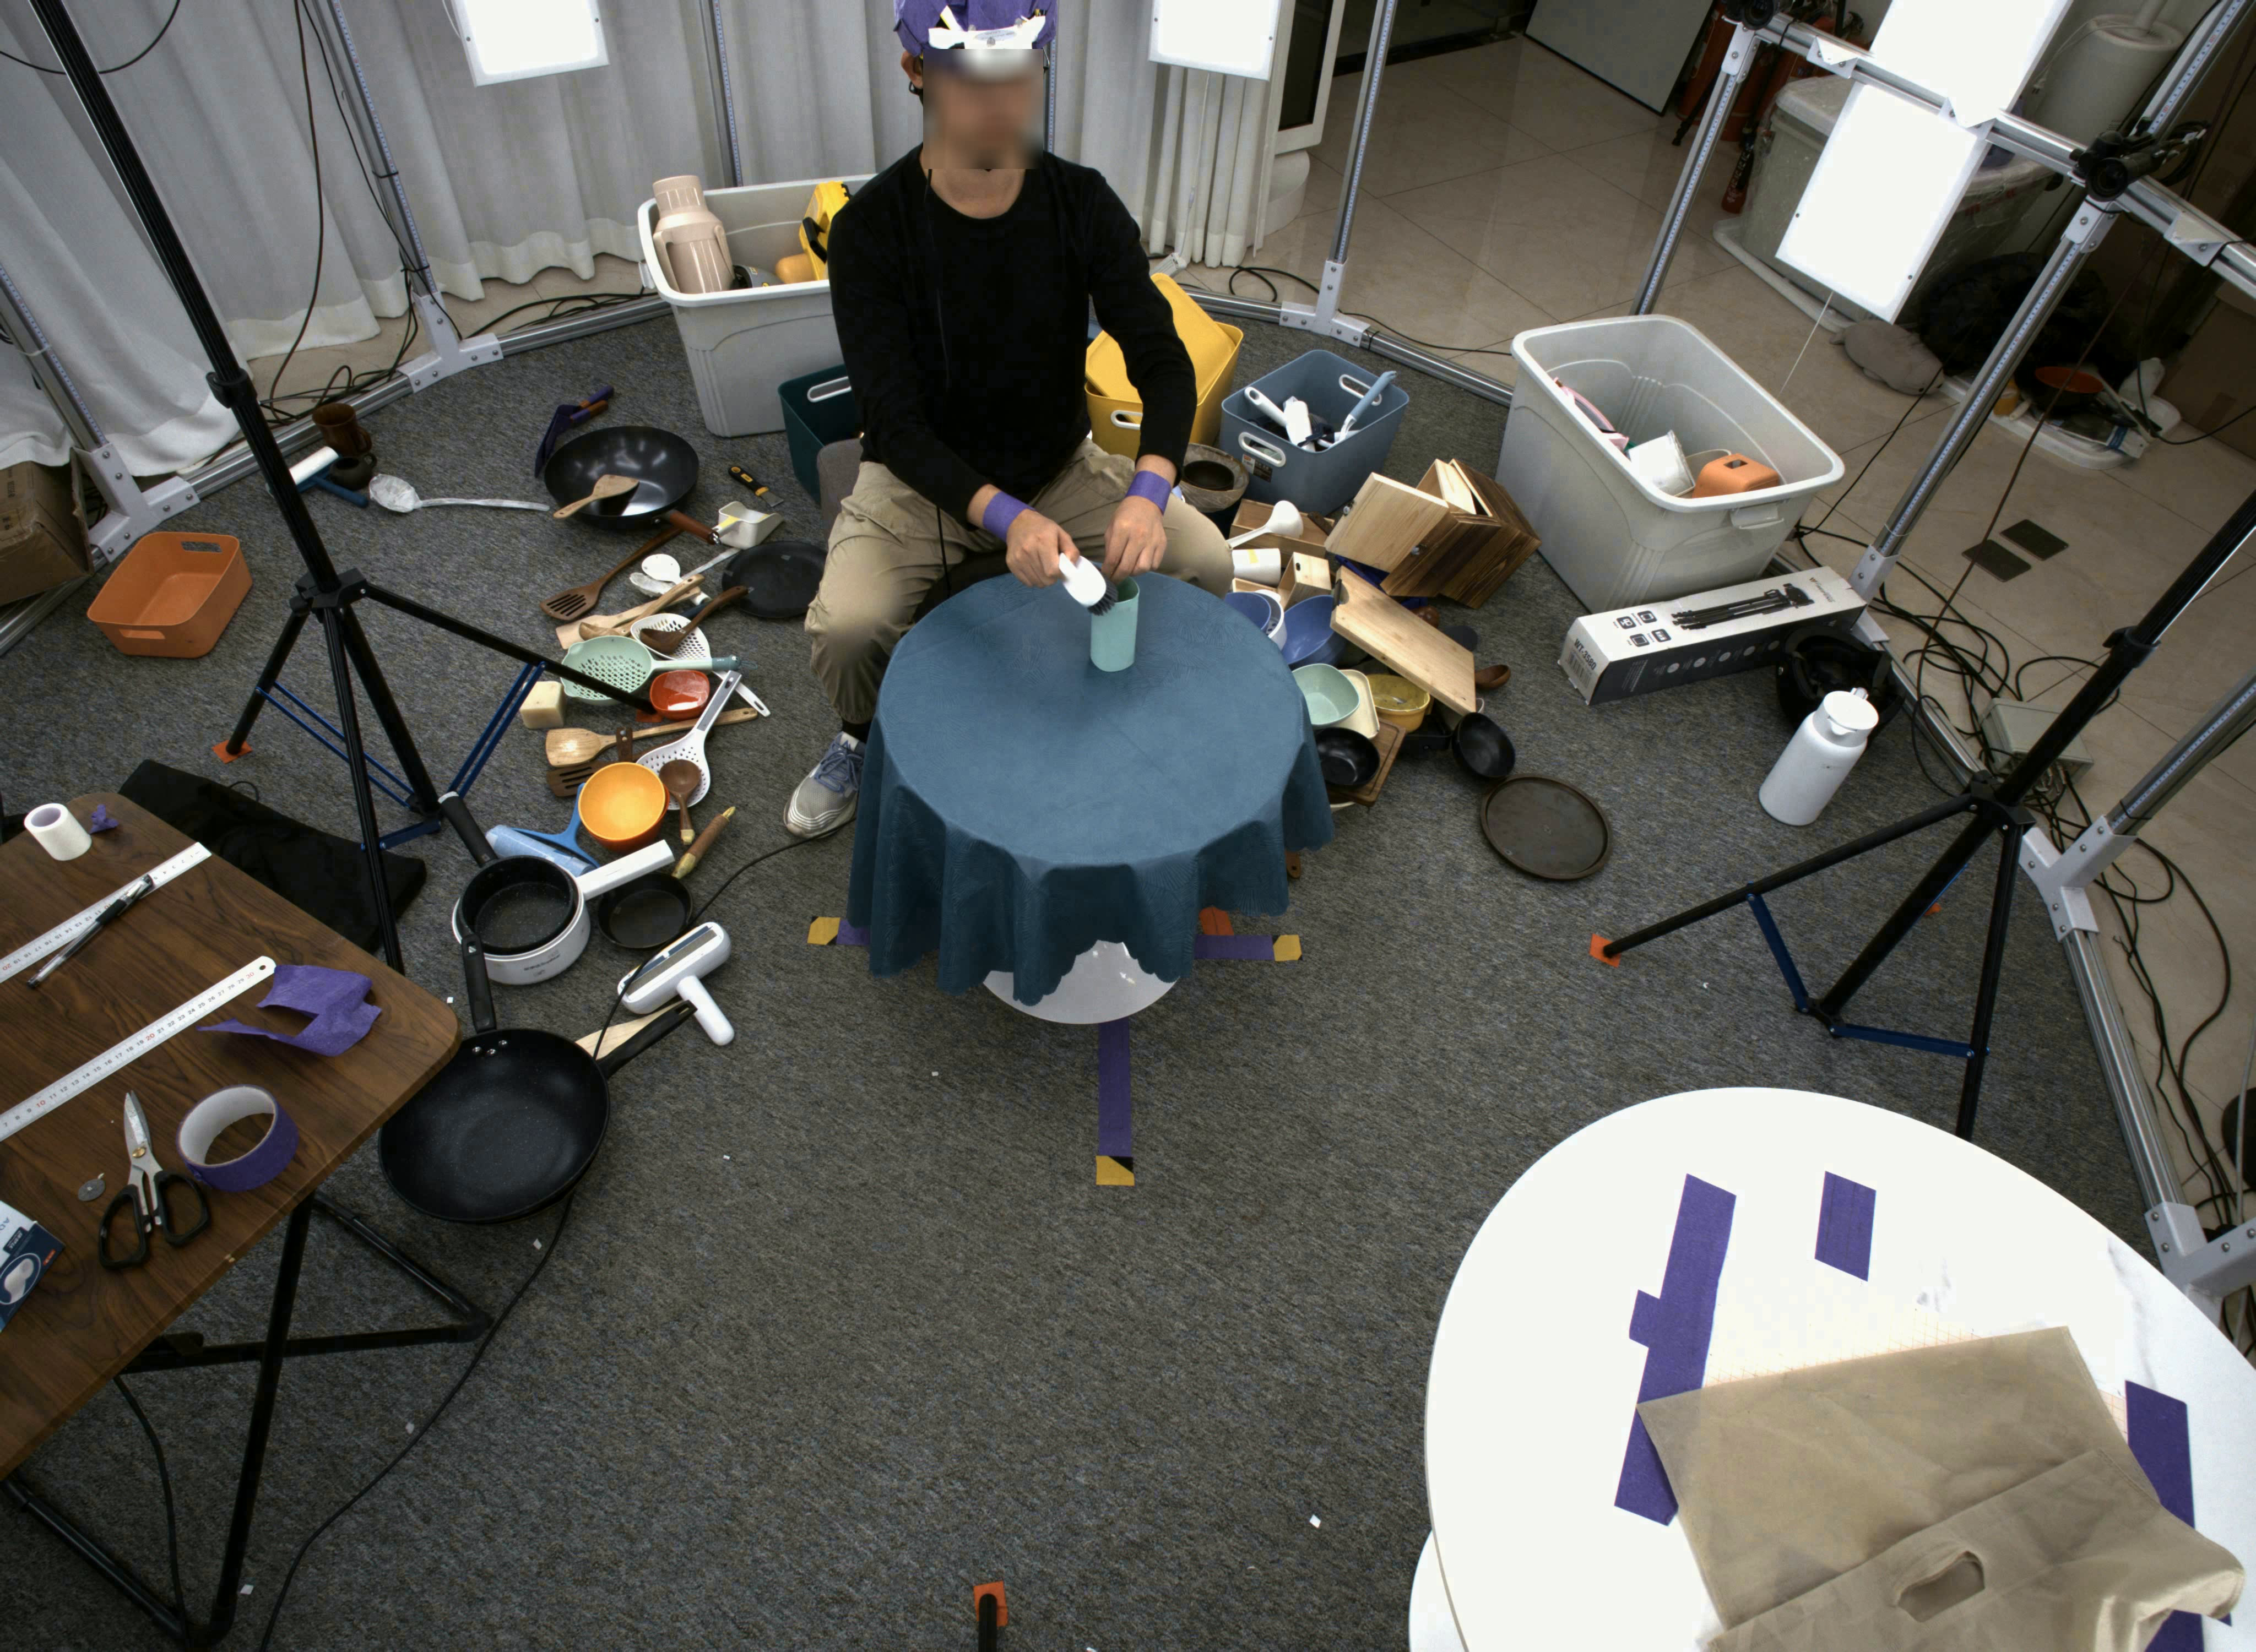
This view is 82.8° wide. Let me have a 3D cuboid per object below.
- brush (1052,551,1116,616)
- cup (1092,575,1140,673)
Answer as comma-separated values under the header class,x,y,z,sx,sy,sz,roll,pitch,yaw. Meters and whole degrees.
class,x,y,z,sx,sy,sz,roll,pitch,yaw
brush,-0.067,-0.338,1.752,0.050,0.071,0.101,-44,49,13
cup,-0.020,-0.287,1.835,0.066,0.129,0.068,2,50,-2
